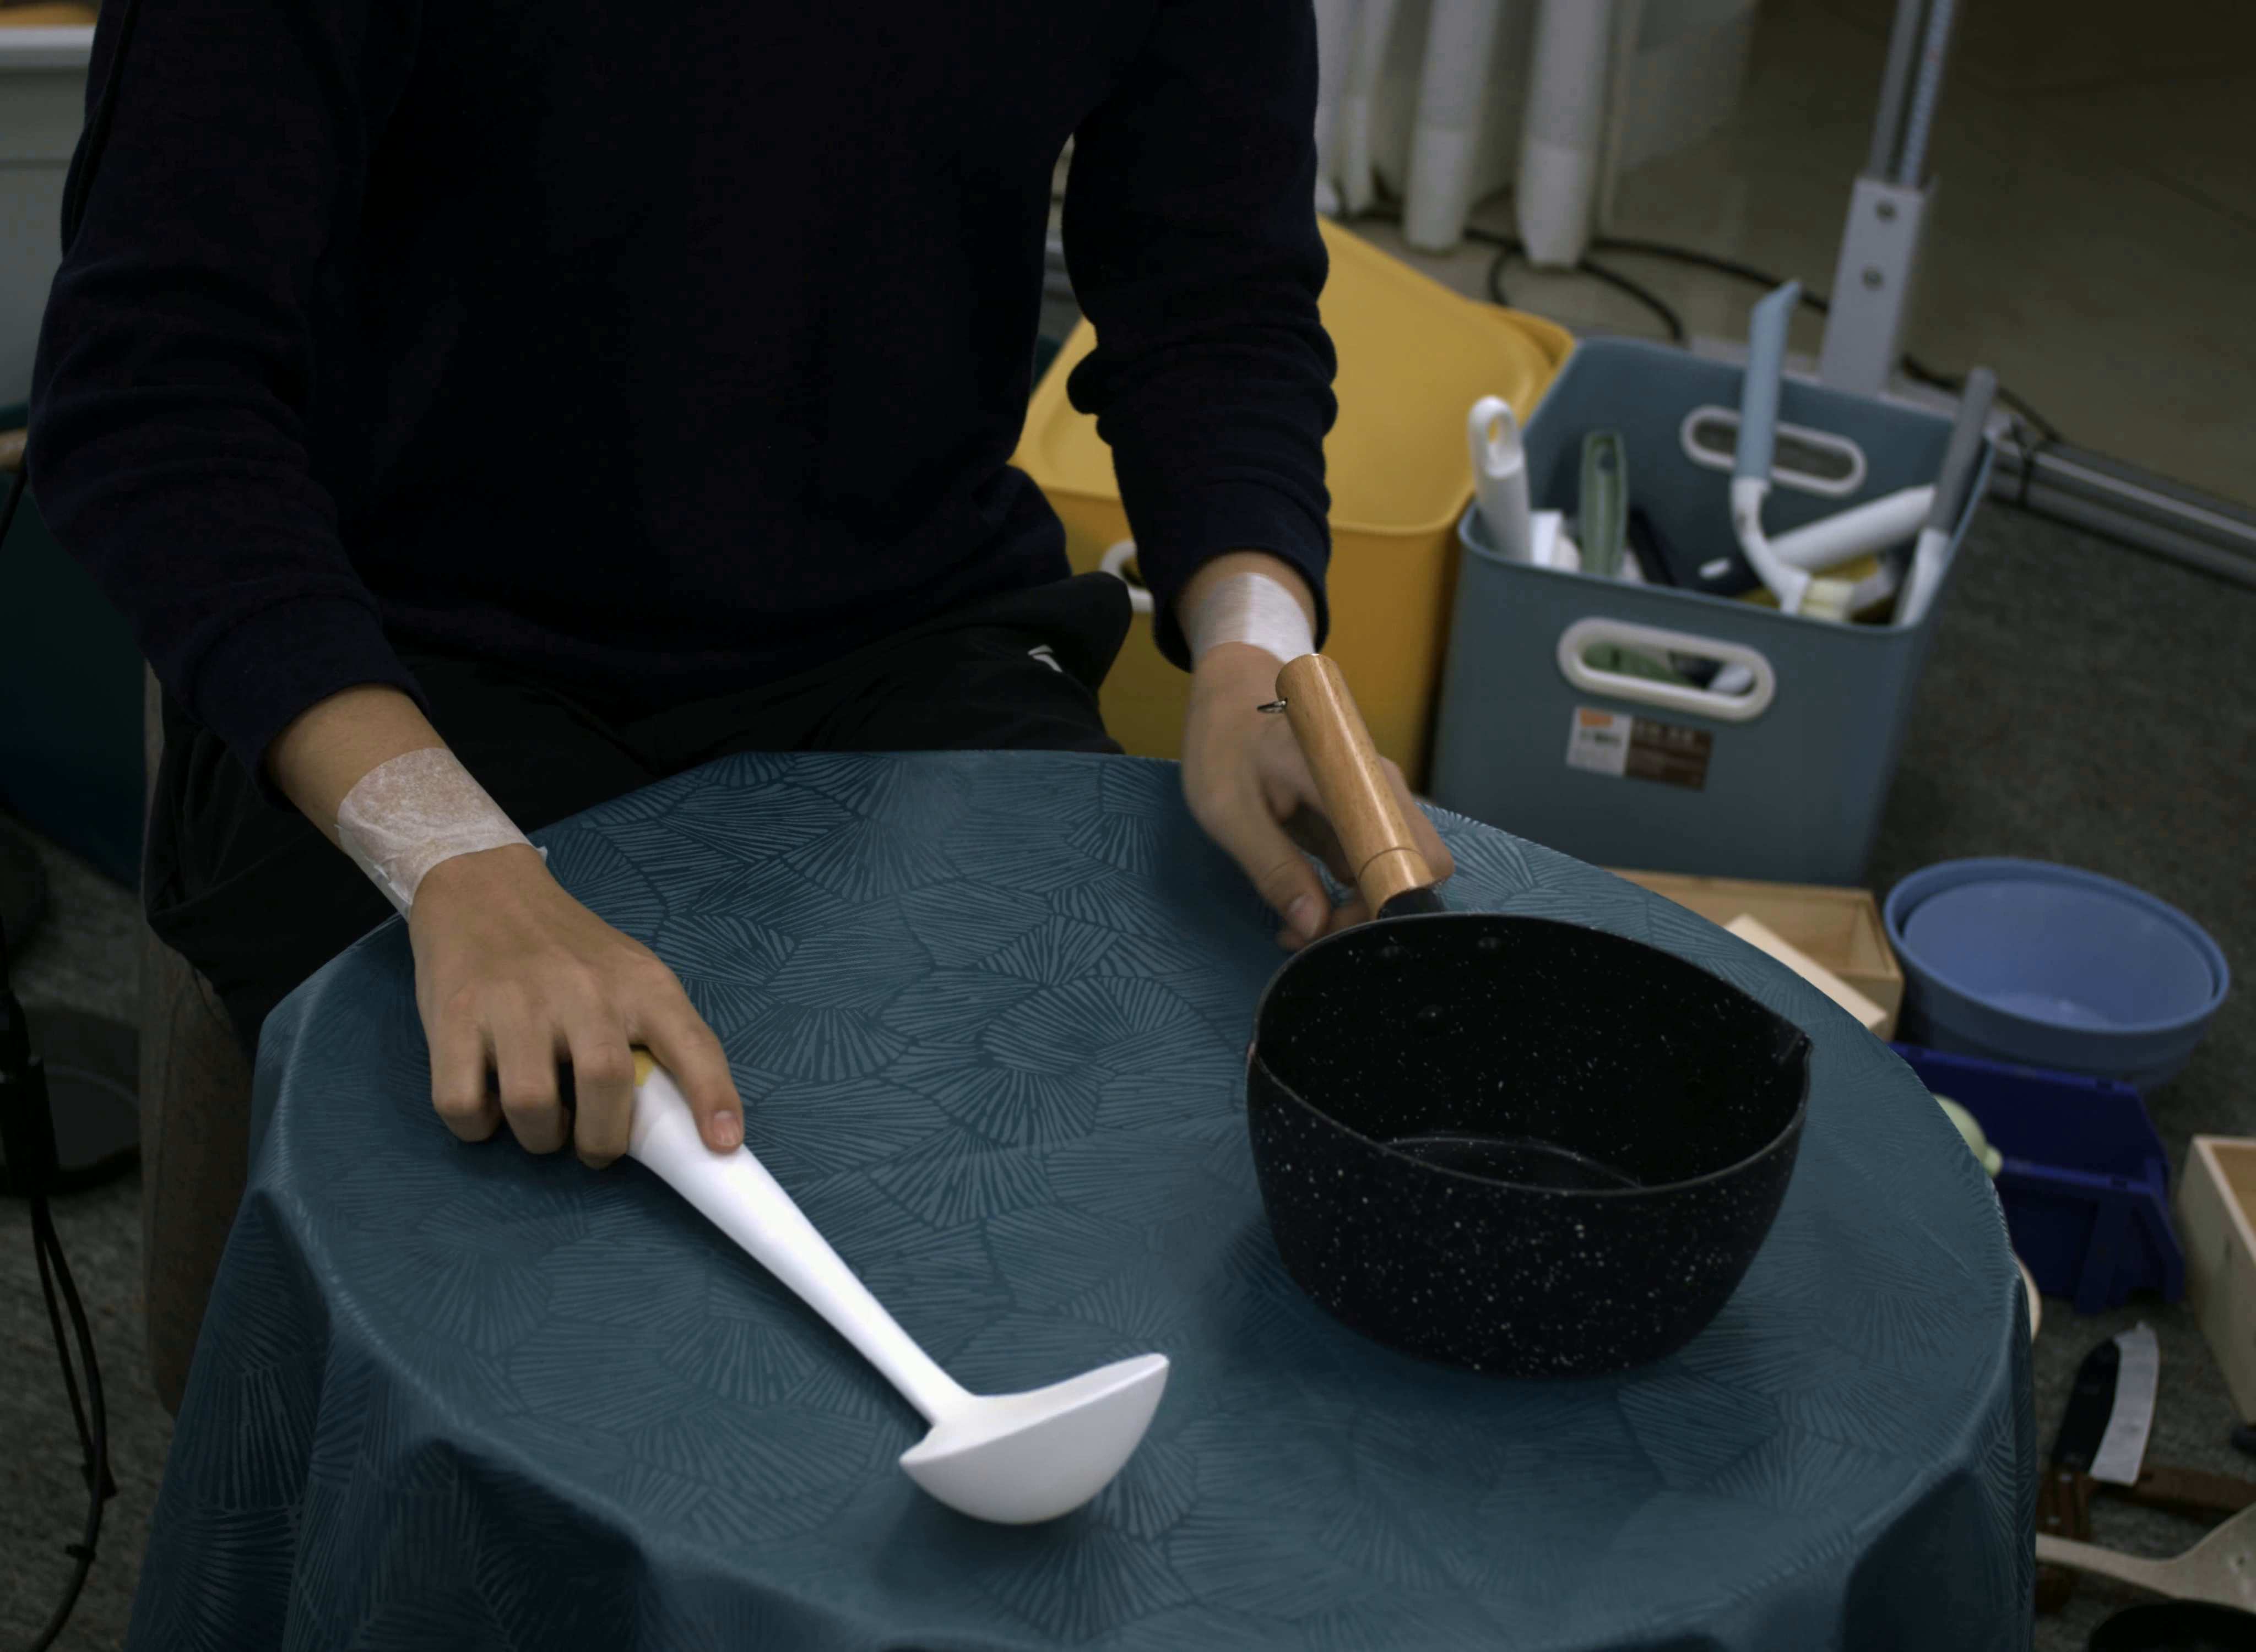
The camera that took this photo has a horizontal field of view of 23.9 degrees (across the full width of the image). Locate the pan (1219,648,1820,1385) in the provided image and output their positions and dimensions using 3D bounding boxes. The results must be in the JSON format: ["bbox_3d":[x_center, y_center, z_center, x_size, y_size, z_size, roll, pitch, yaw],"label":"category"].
[{"bbox_3d":[0.106,0.062,1.829,0.206,0.108,0.346,-4,30,-18],"label":"pan"}]

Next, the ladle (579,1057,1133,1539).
[{"bbox_3d":[-0.098,0.138,1.687,0.090,0.069,0.295,-26,38,-21],"label":"ladle"}]
